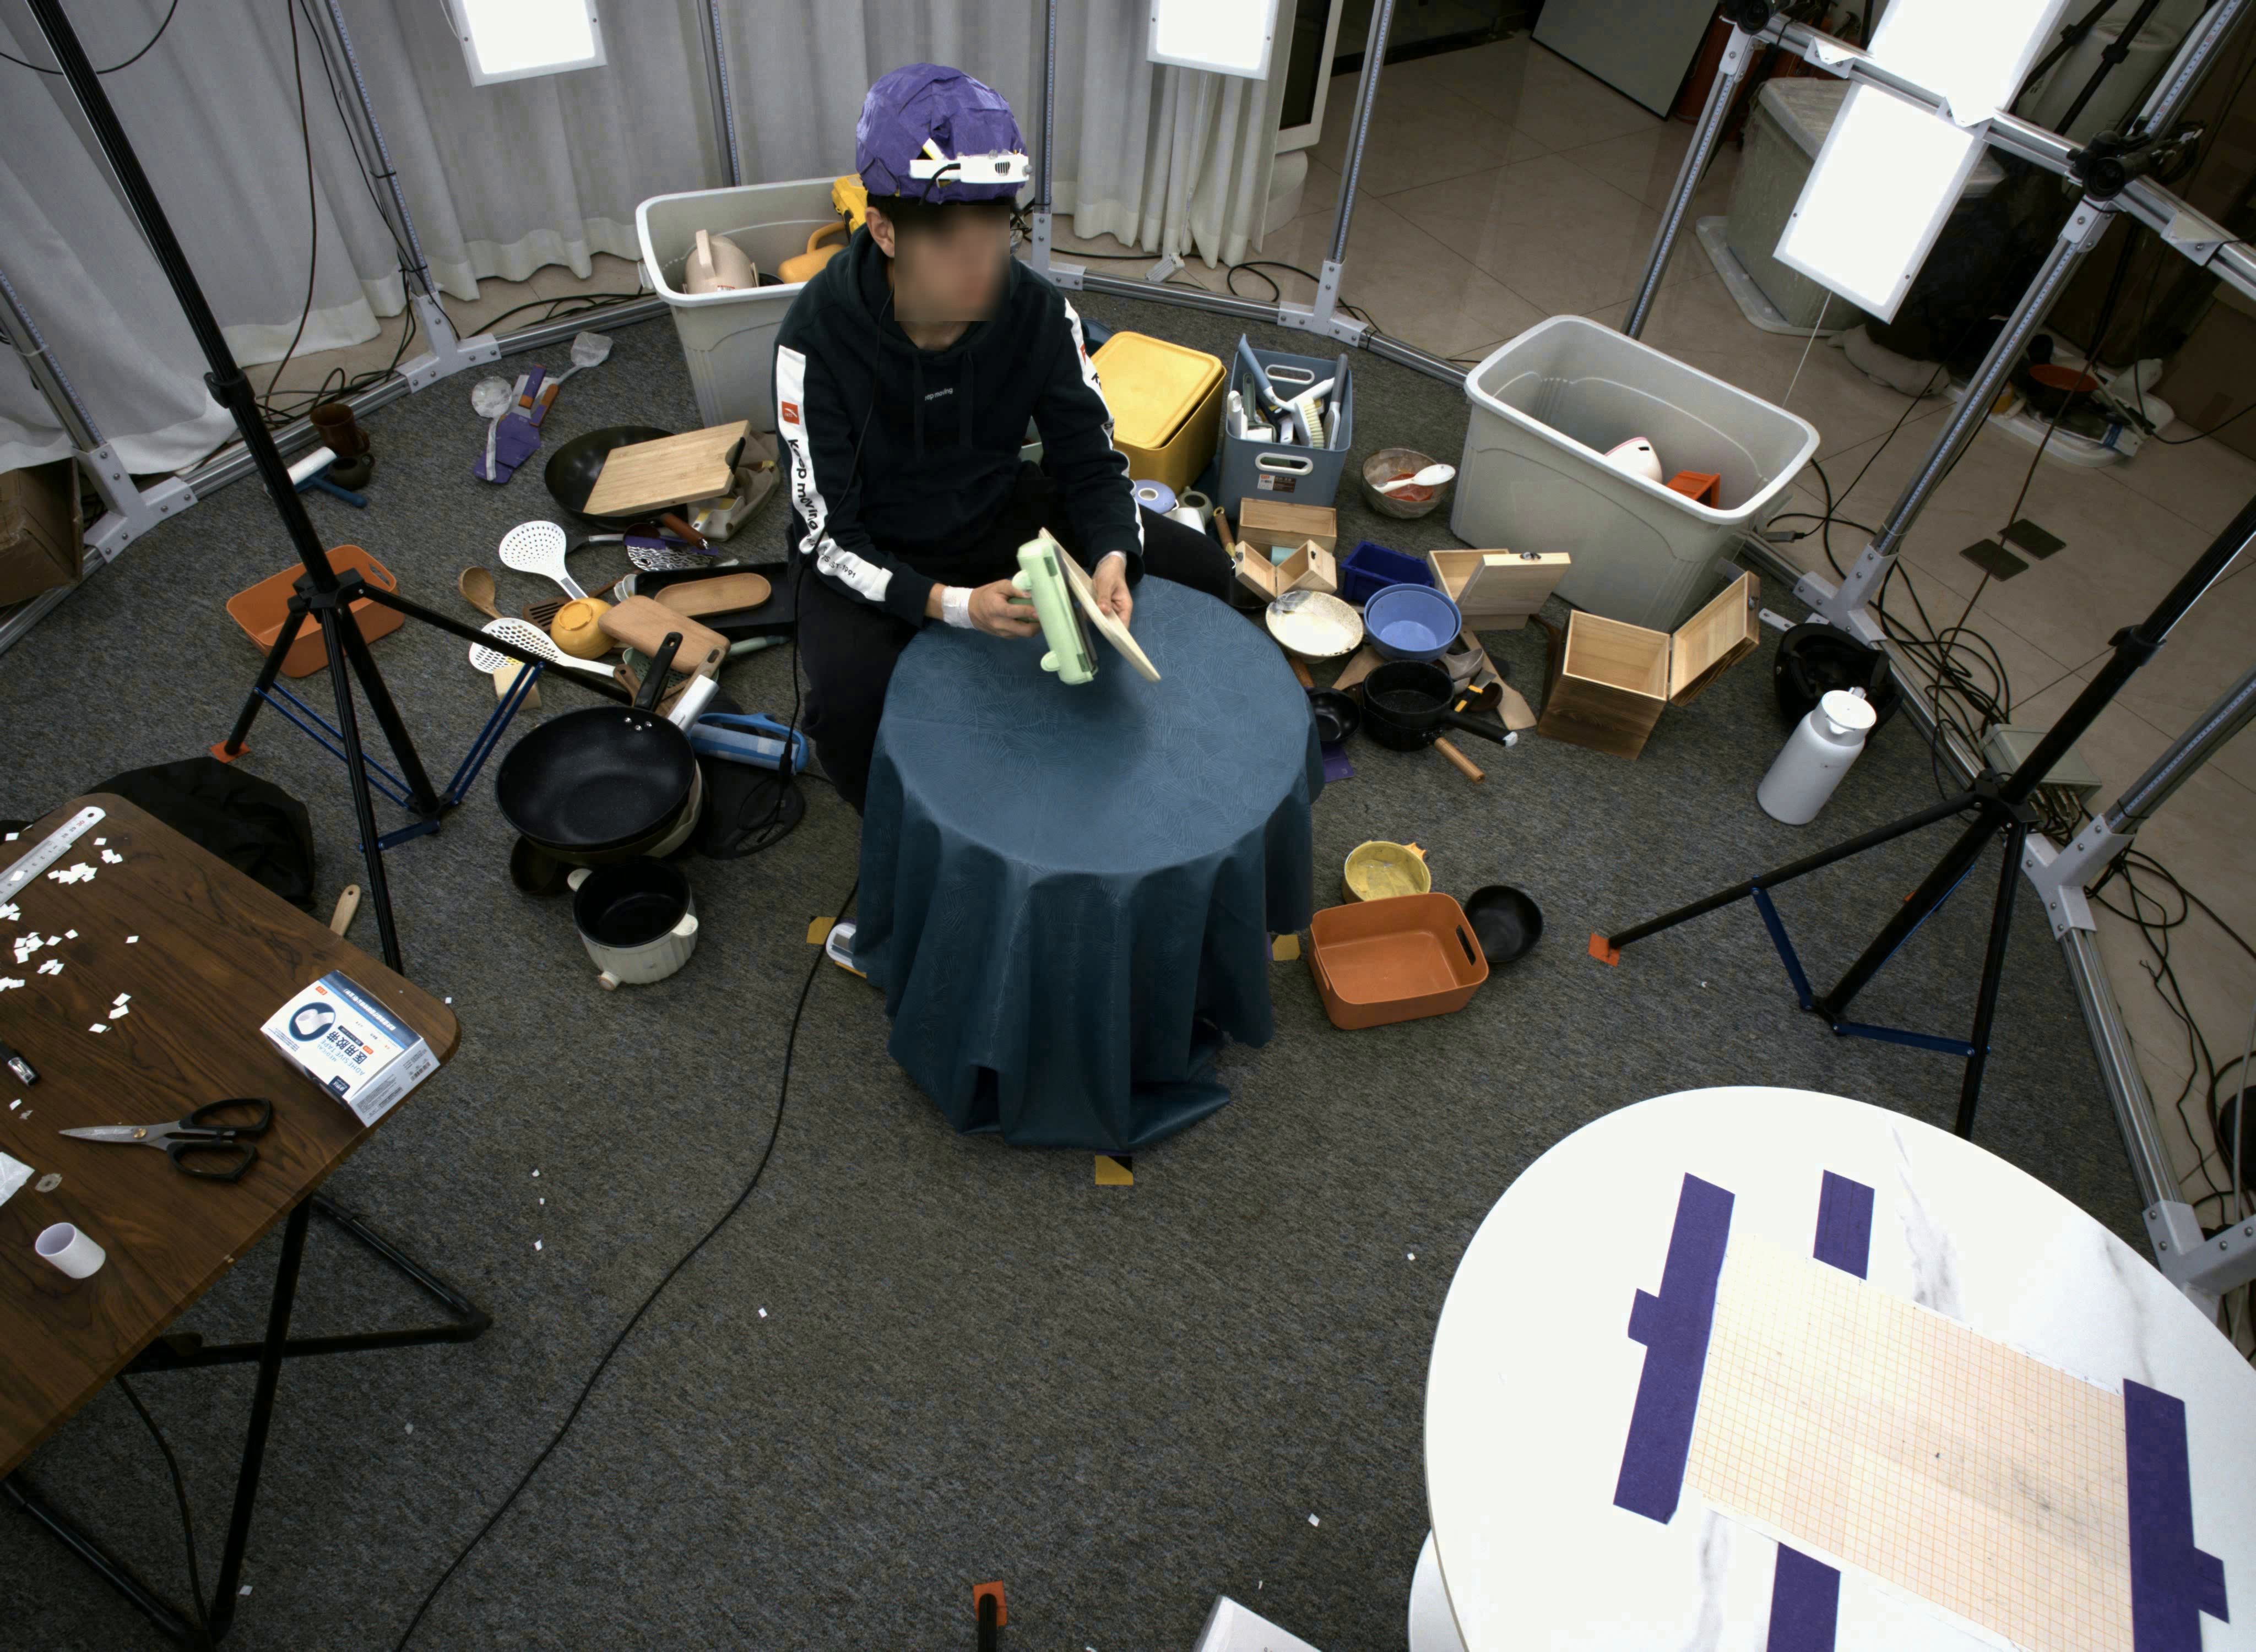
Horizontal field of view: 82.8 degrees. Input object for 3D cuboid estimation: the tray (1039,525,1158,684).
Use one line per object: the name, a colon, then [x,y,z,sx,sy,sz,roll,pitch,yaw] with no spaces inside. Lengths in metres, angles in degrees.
tray: [-0.043,-0.302,1.768,0.017,0.168,0.245,-37,54,8]

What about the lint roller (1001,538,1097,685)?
lint roller: [-0.137,-0.286,1.749,0.083,0.195,0.184,-35,26,-33]
